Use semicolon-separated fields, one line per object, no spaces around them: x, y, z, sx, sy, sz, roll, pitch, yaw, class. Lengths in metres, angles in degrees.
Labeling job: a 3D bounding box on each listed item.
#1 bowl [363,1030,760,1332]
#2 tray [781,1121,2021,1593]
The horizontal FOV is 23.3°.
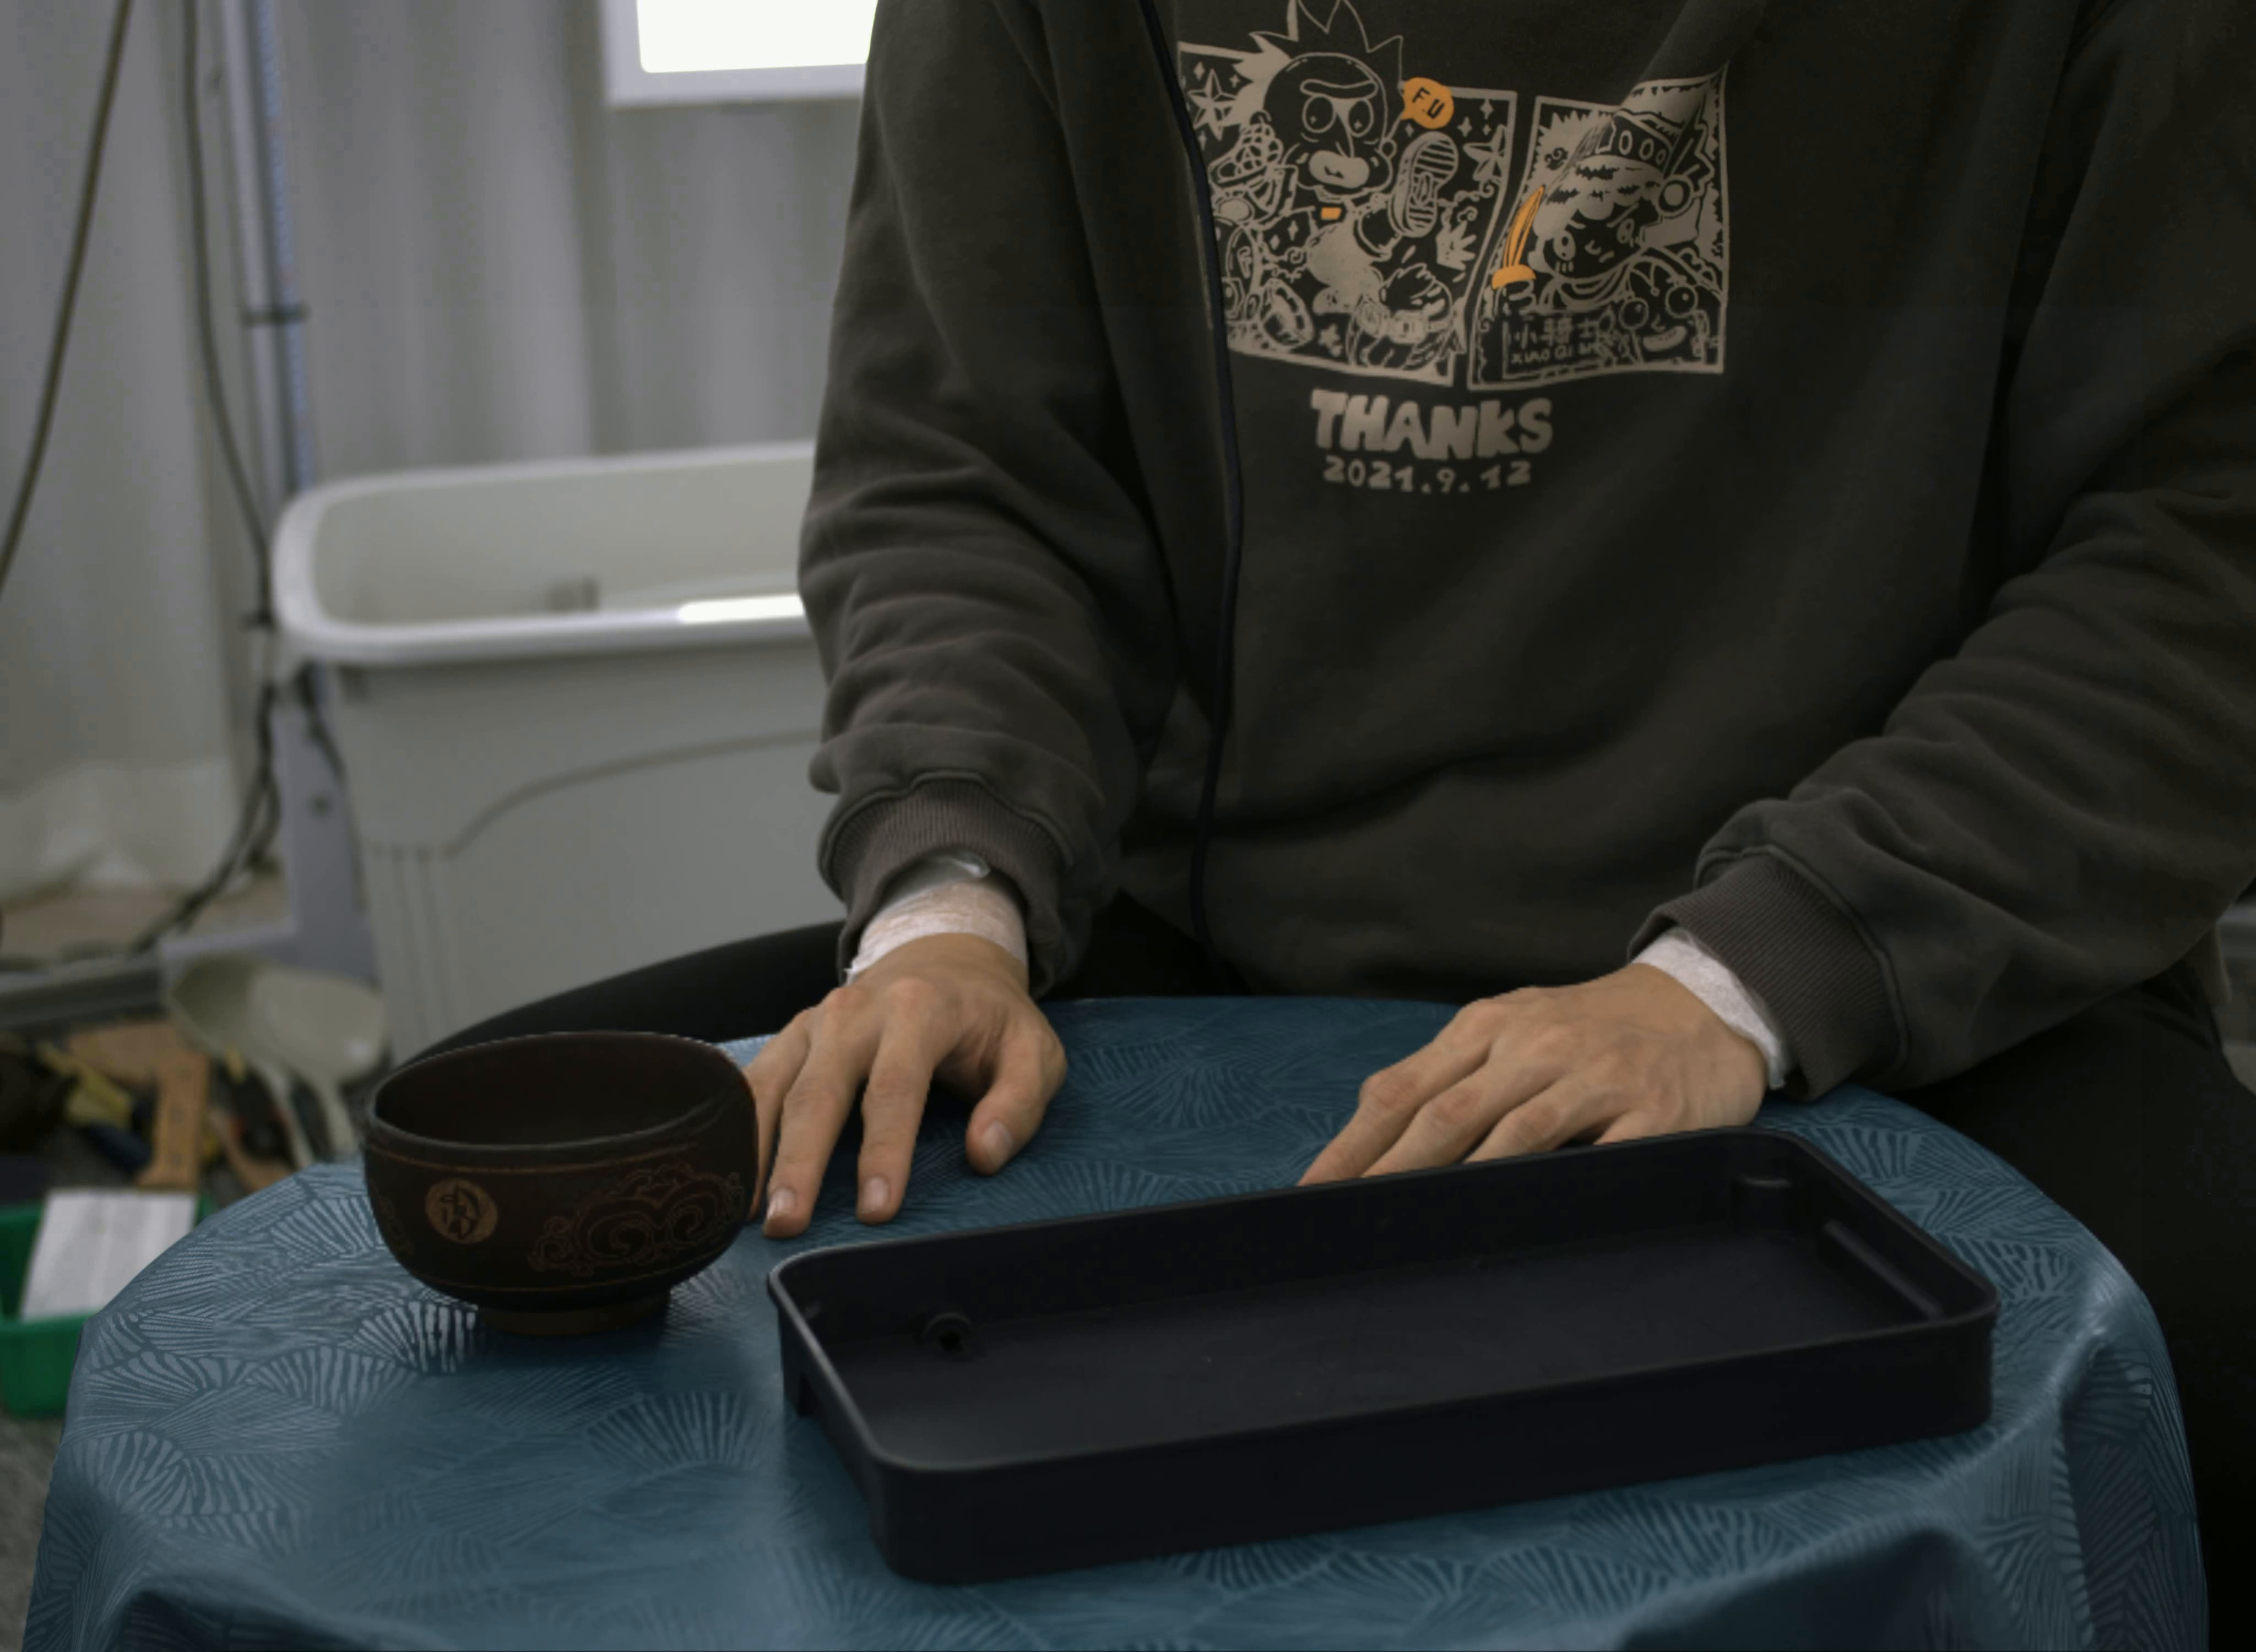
-0.168;0.110;1.637;0.117;0.069;0.119;-3;13;0;bowl
0.074;0.144;1.531;0.316;0.037;0.186;-8;15;-15;tray
